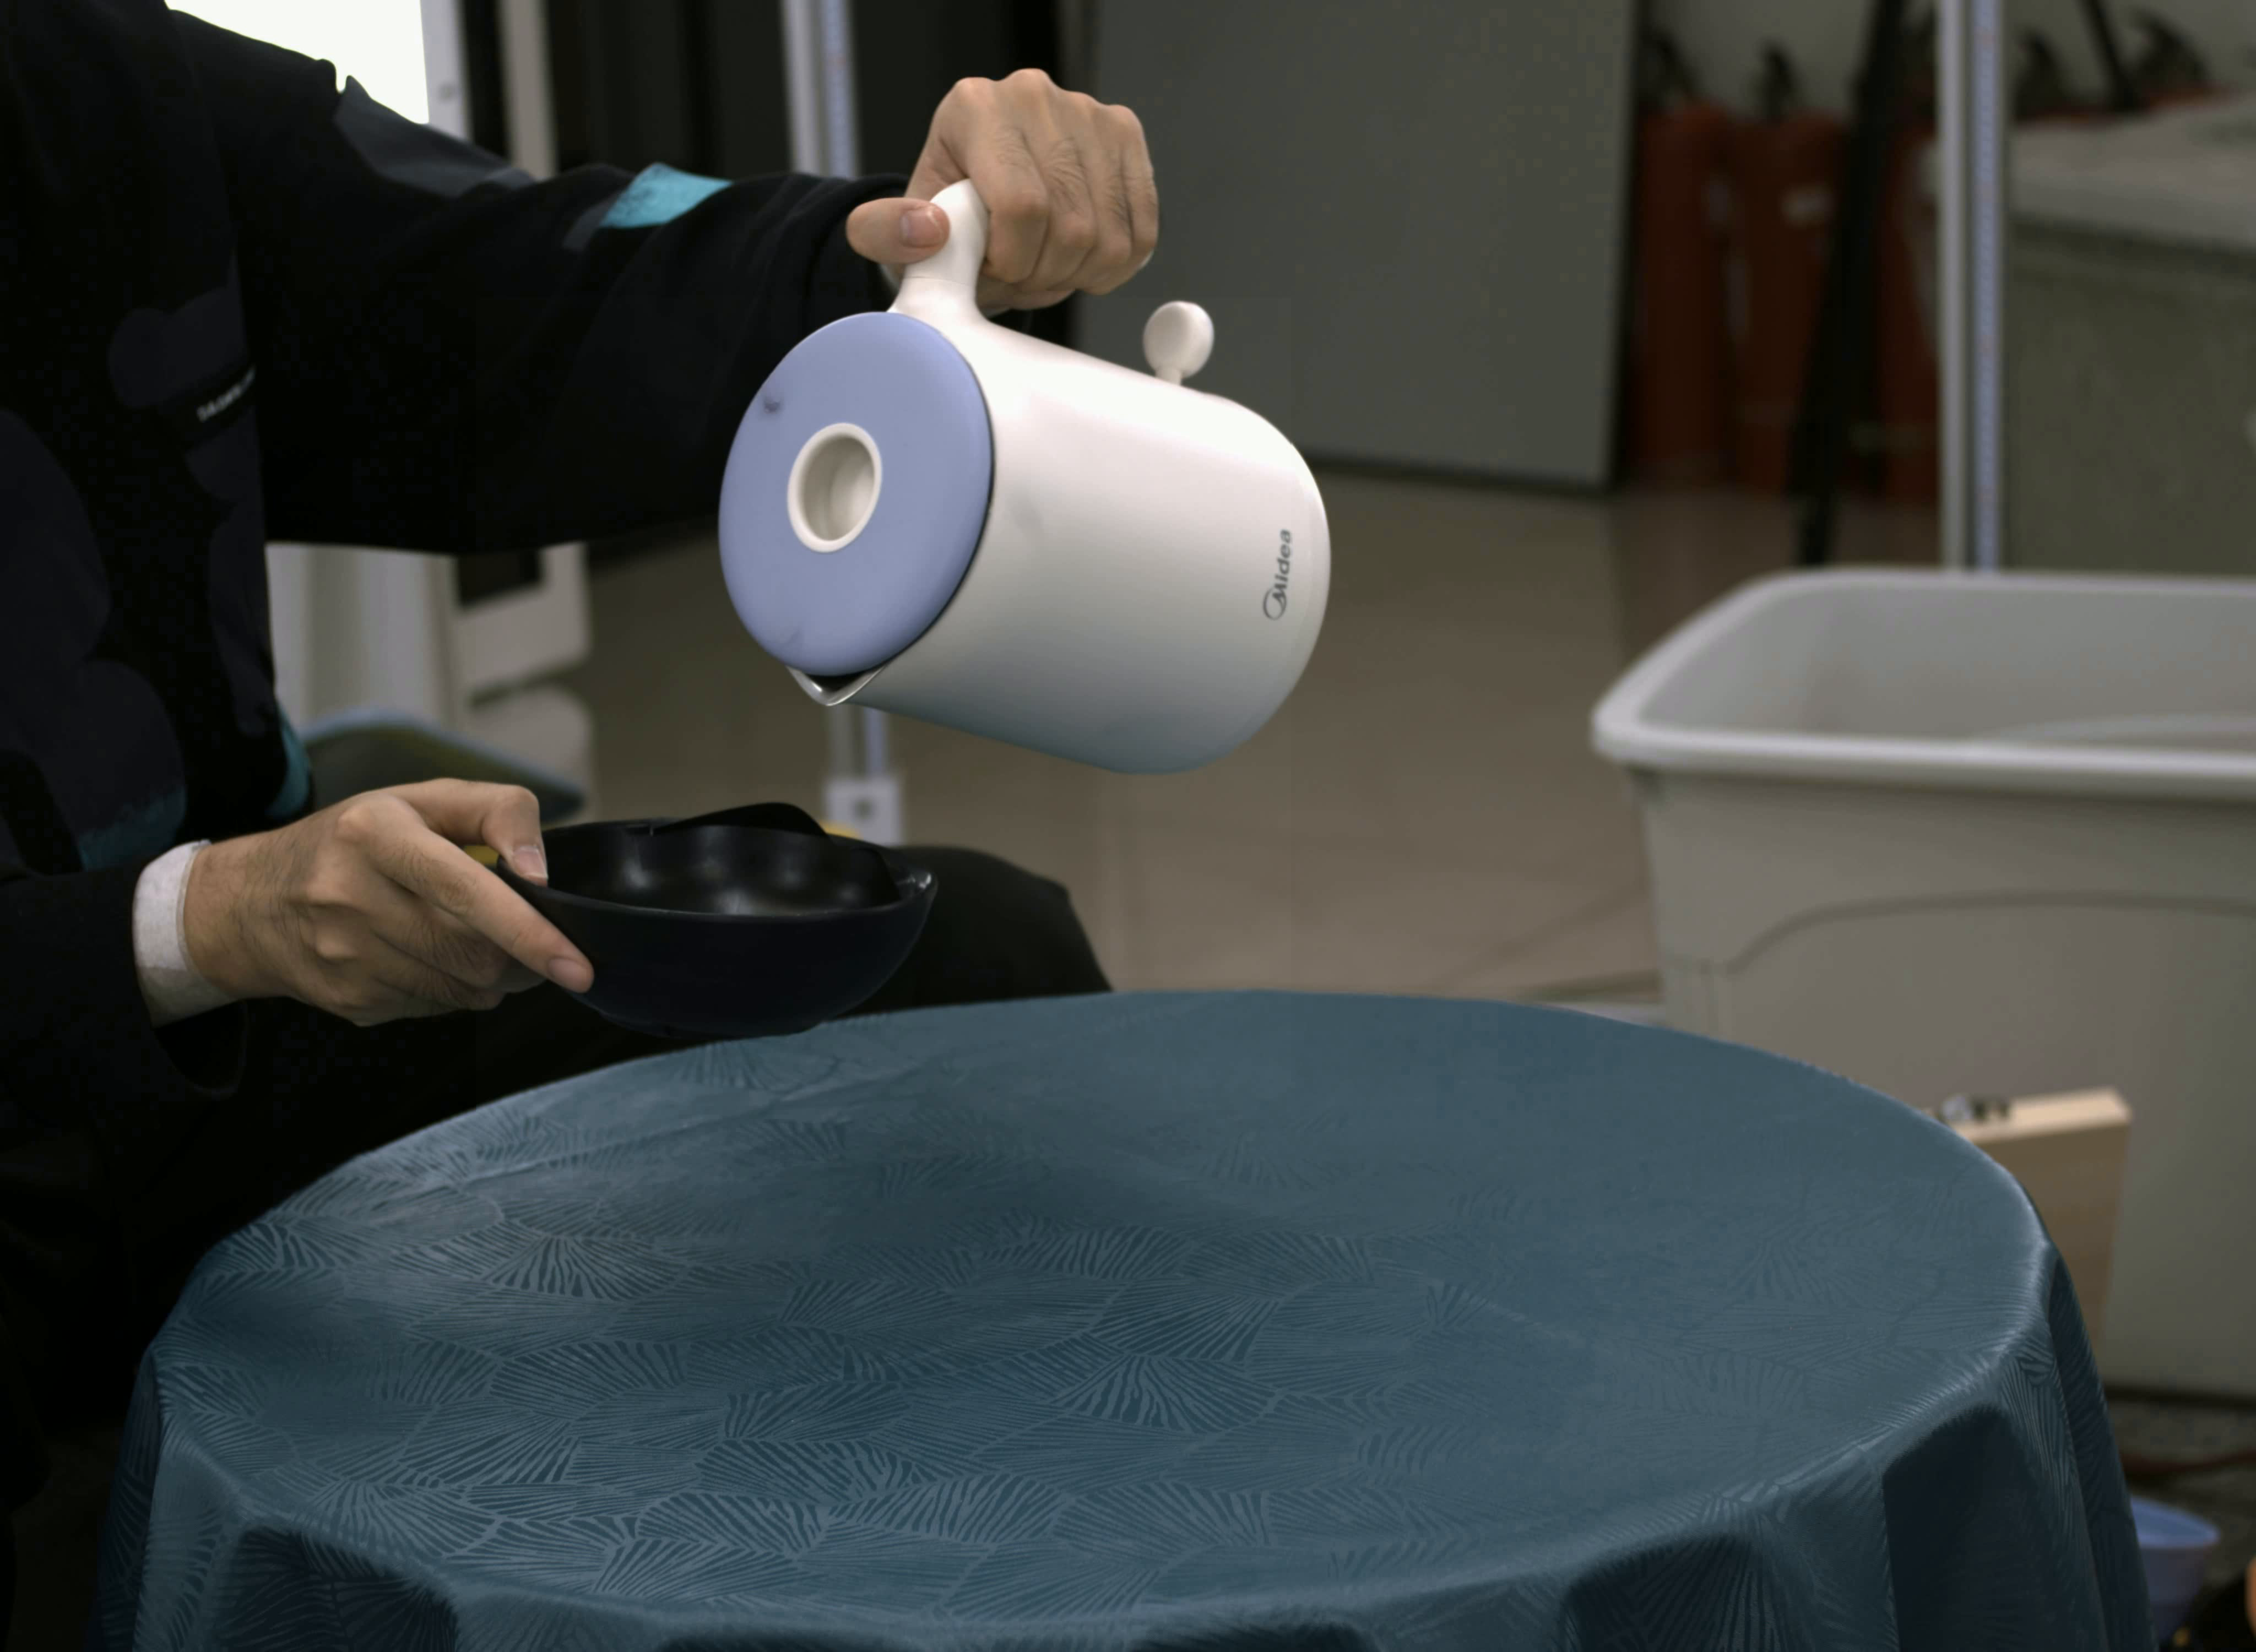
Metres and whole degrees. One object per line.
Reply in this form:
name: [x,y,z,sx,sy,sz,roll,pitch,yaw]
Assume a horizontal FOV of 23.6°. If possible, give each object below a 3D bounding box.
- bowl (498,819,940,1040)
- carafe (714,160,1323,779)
bowl: [-0.128,0.035,1.690,0.138,0.050,0.140,0,11,-1]
carafe: [-0.032,-0.119,1.766,0.133,0.193,0.179,-1,-13,42]
